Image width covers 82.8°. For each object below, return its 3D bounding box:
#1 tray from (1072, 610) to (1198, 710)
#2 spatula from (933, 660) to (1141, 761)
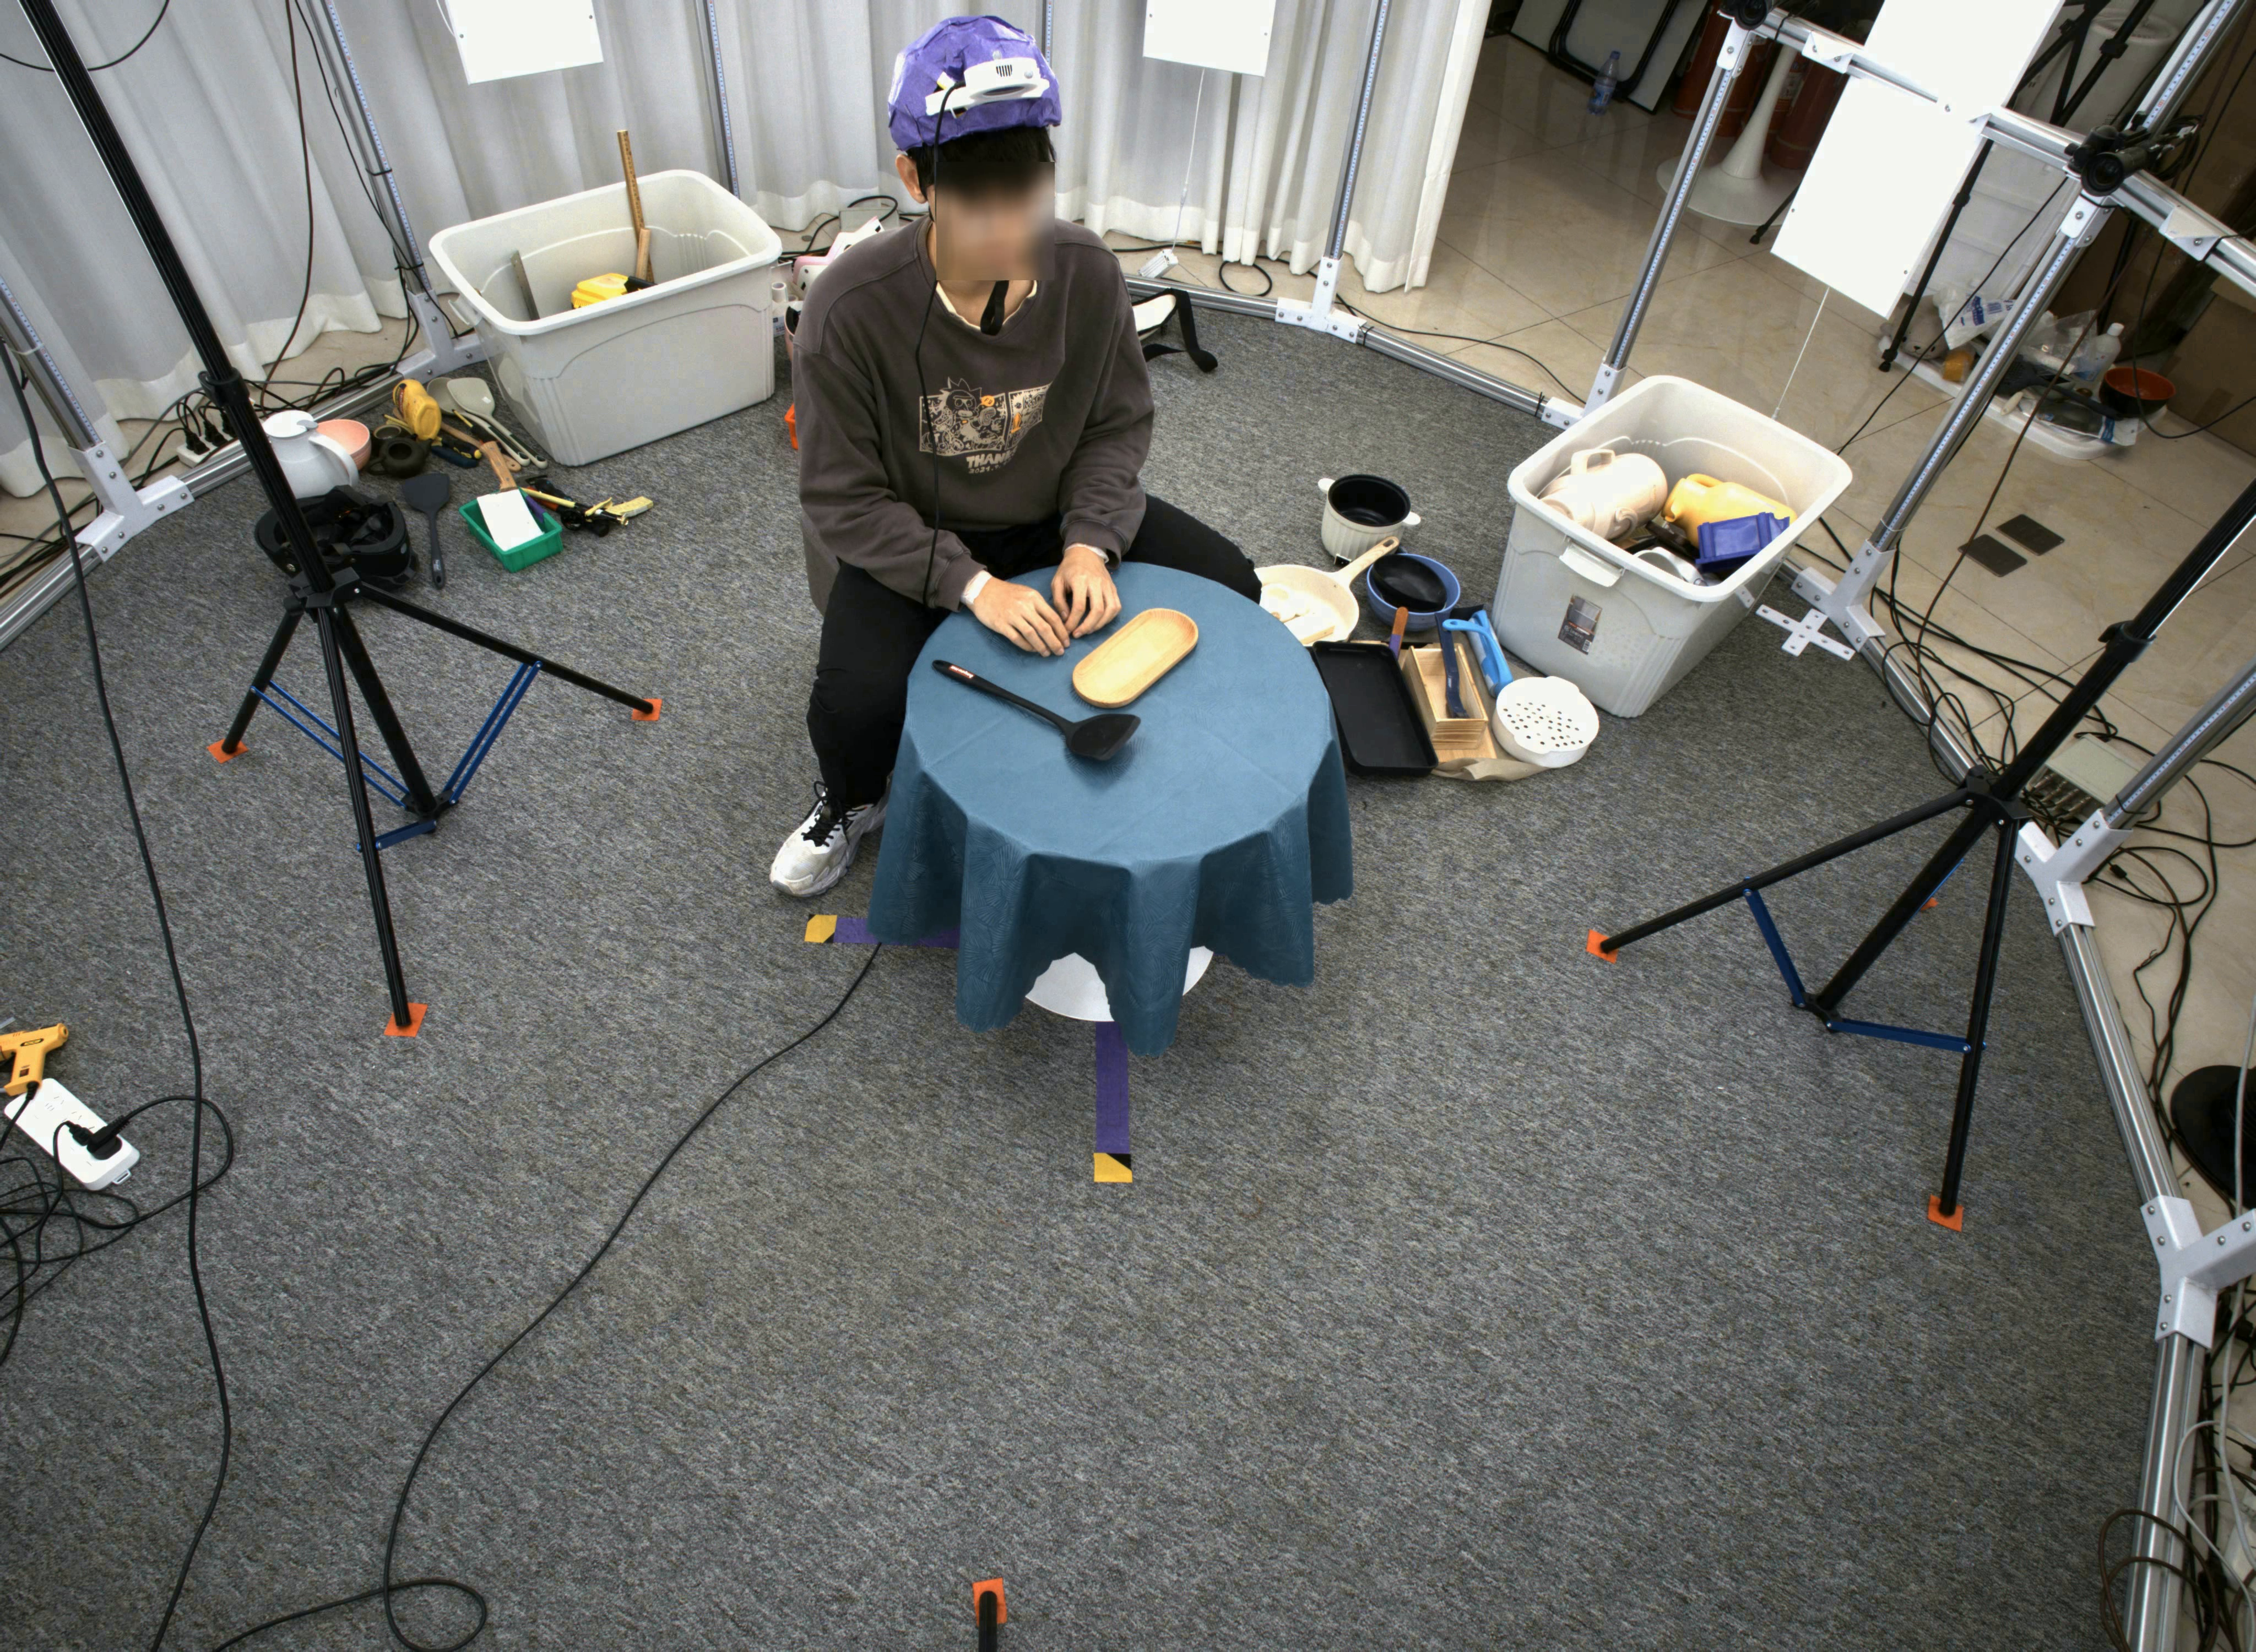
[{"bbox_3d":[0.012,-0.243,1.868,0.103,0.020,0.234,32,56,23],"label":"tray"},{"bbox_3d":[-0.139,-0.173,1.784,0.329,0.039,0.101,27,52,19],"label":"spatula"}]
